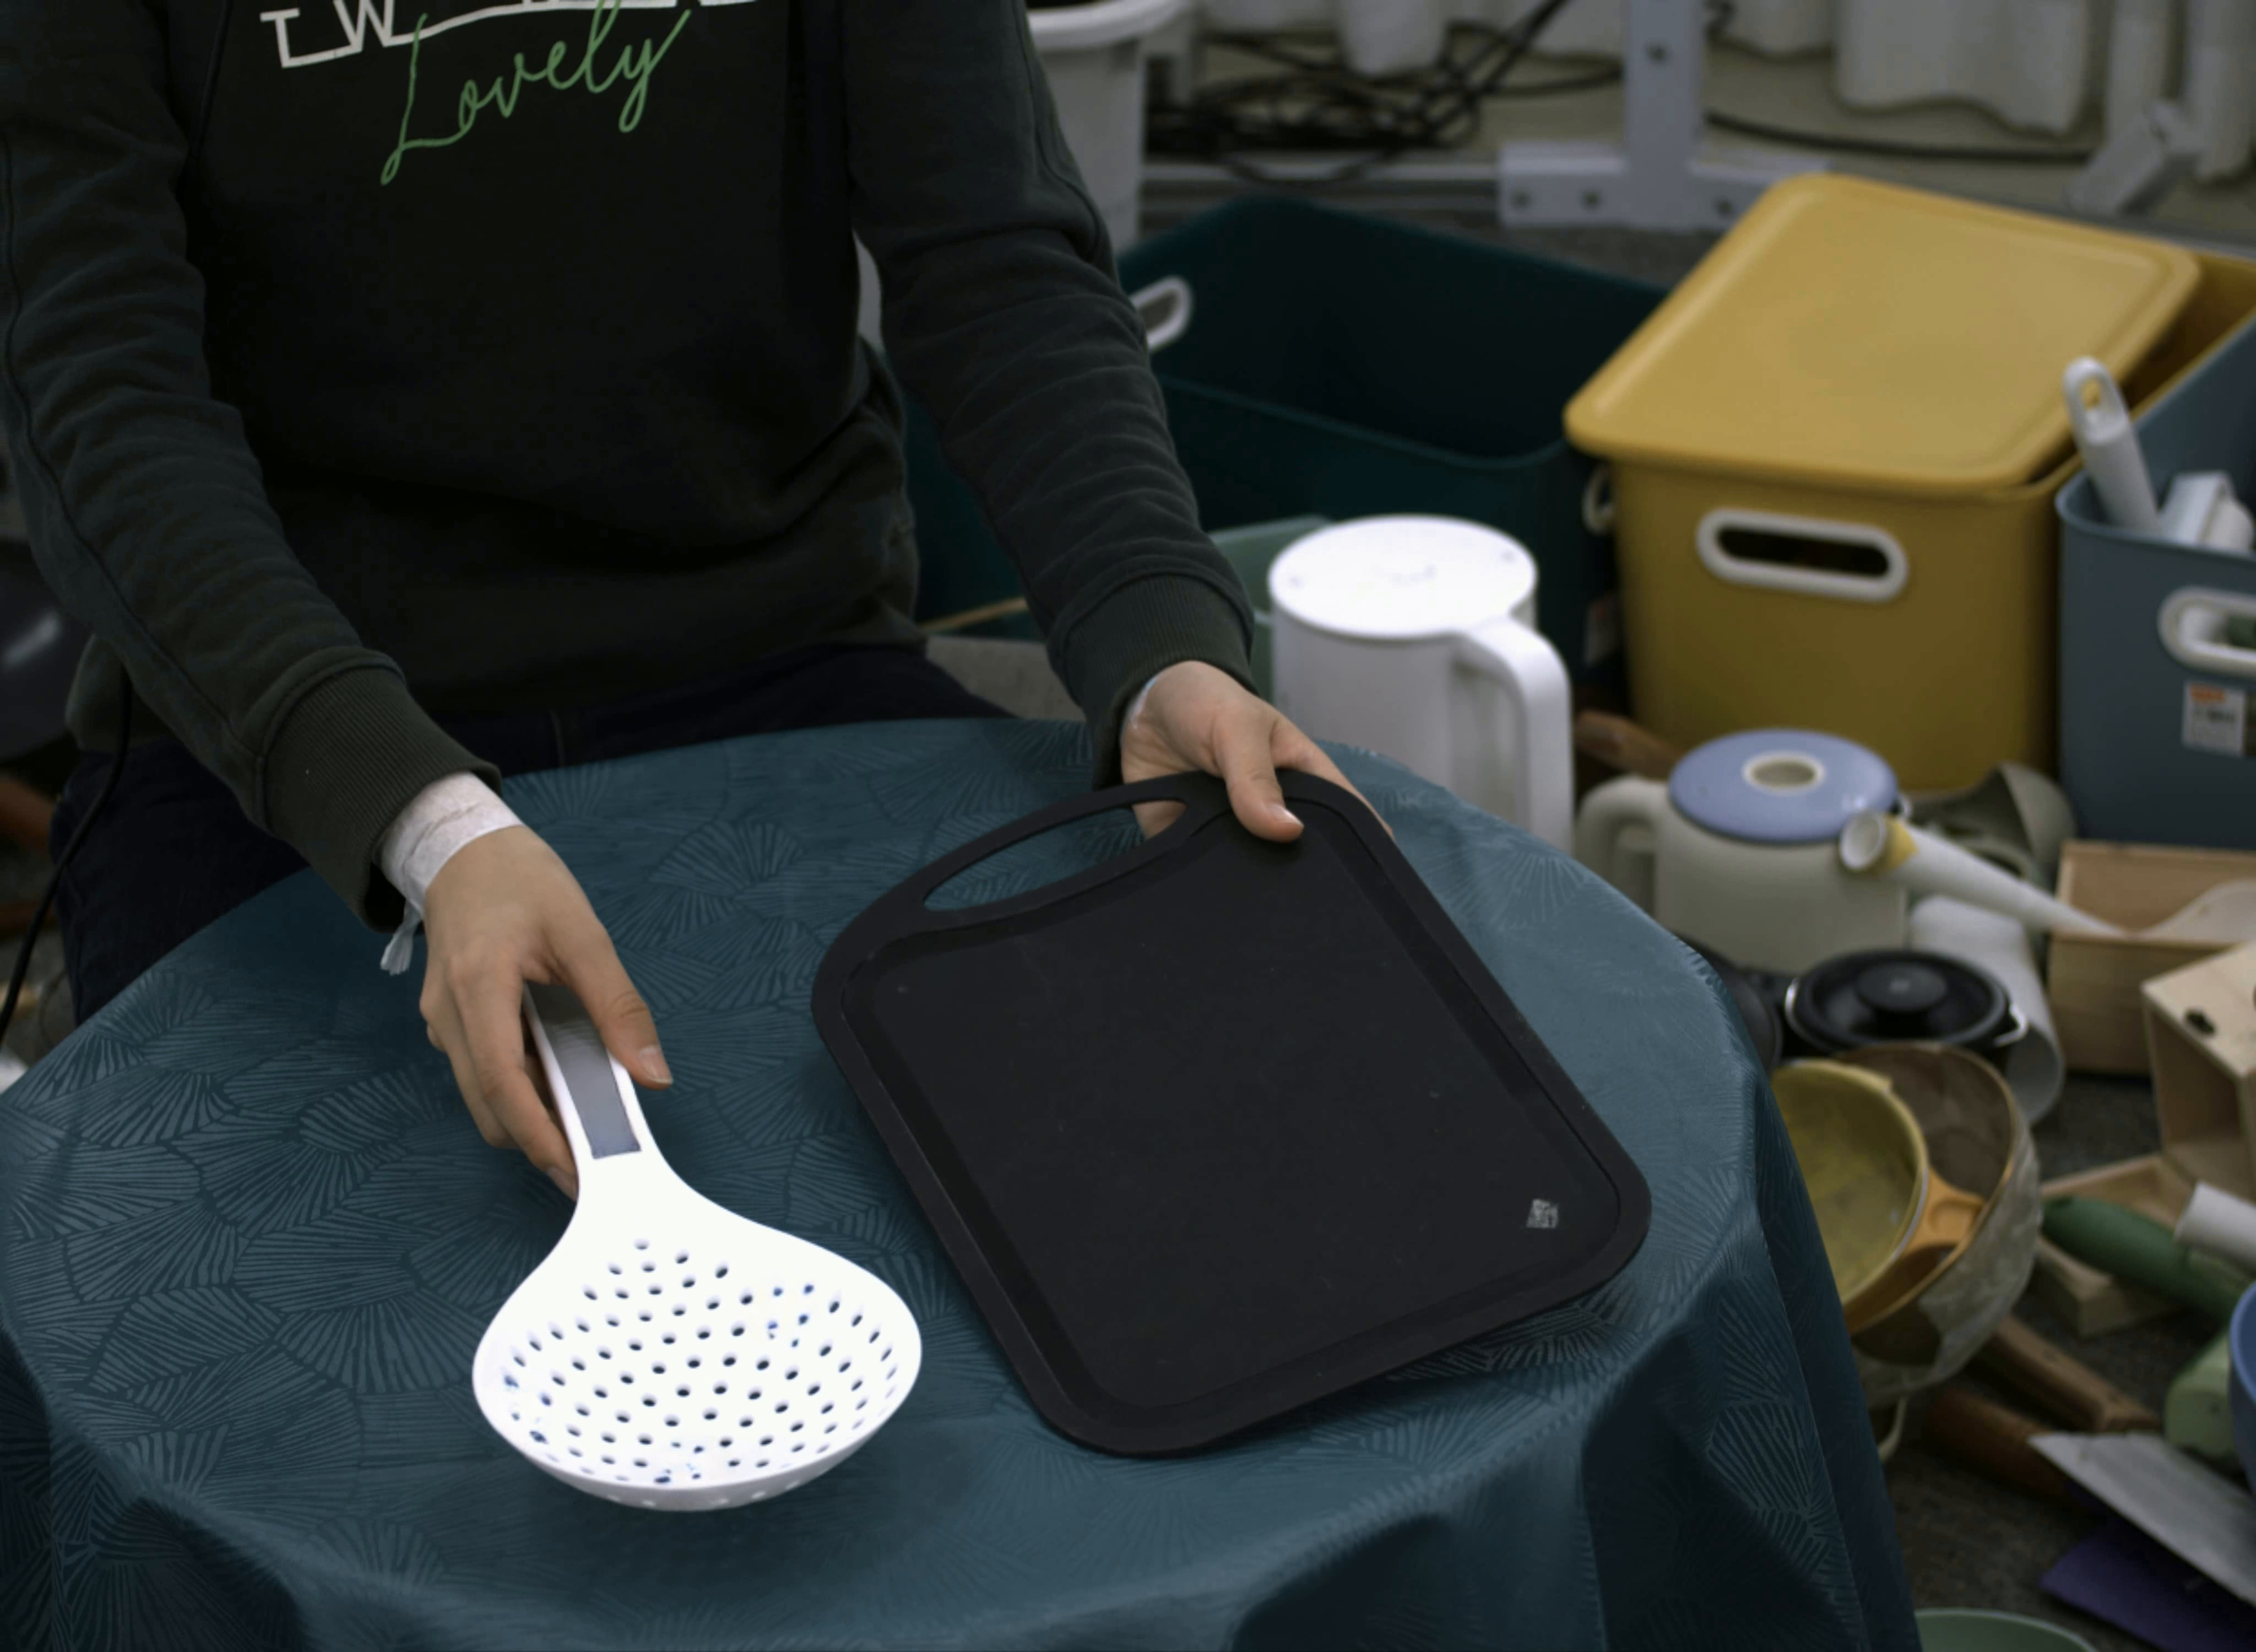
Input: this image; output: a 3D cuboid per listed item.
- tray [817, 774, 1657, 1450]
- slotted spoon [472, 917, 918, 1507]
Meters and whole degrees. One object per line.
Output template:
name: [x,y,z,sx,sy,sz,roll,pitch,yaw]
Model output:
tray: [0.026,0.082,1.858,0.211,0.009,0.329,-19,38,-12]
slotted spoon: [-0.160,0.118,1.799,0.136,0.045,0.354,-7,33,-13]
